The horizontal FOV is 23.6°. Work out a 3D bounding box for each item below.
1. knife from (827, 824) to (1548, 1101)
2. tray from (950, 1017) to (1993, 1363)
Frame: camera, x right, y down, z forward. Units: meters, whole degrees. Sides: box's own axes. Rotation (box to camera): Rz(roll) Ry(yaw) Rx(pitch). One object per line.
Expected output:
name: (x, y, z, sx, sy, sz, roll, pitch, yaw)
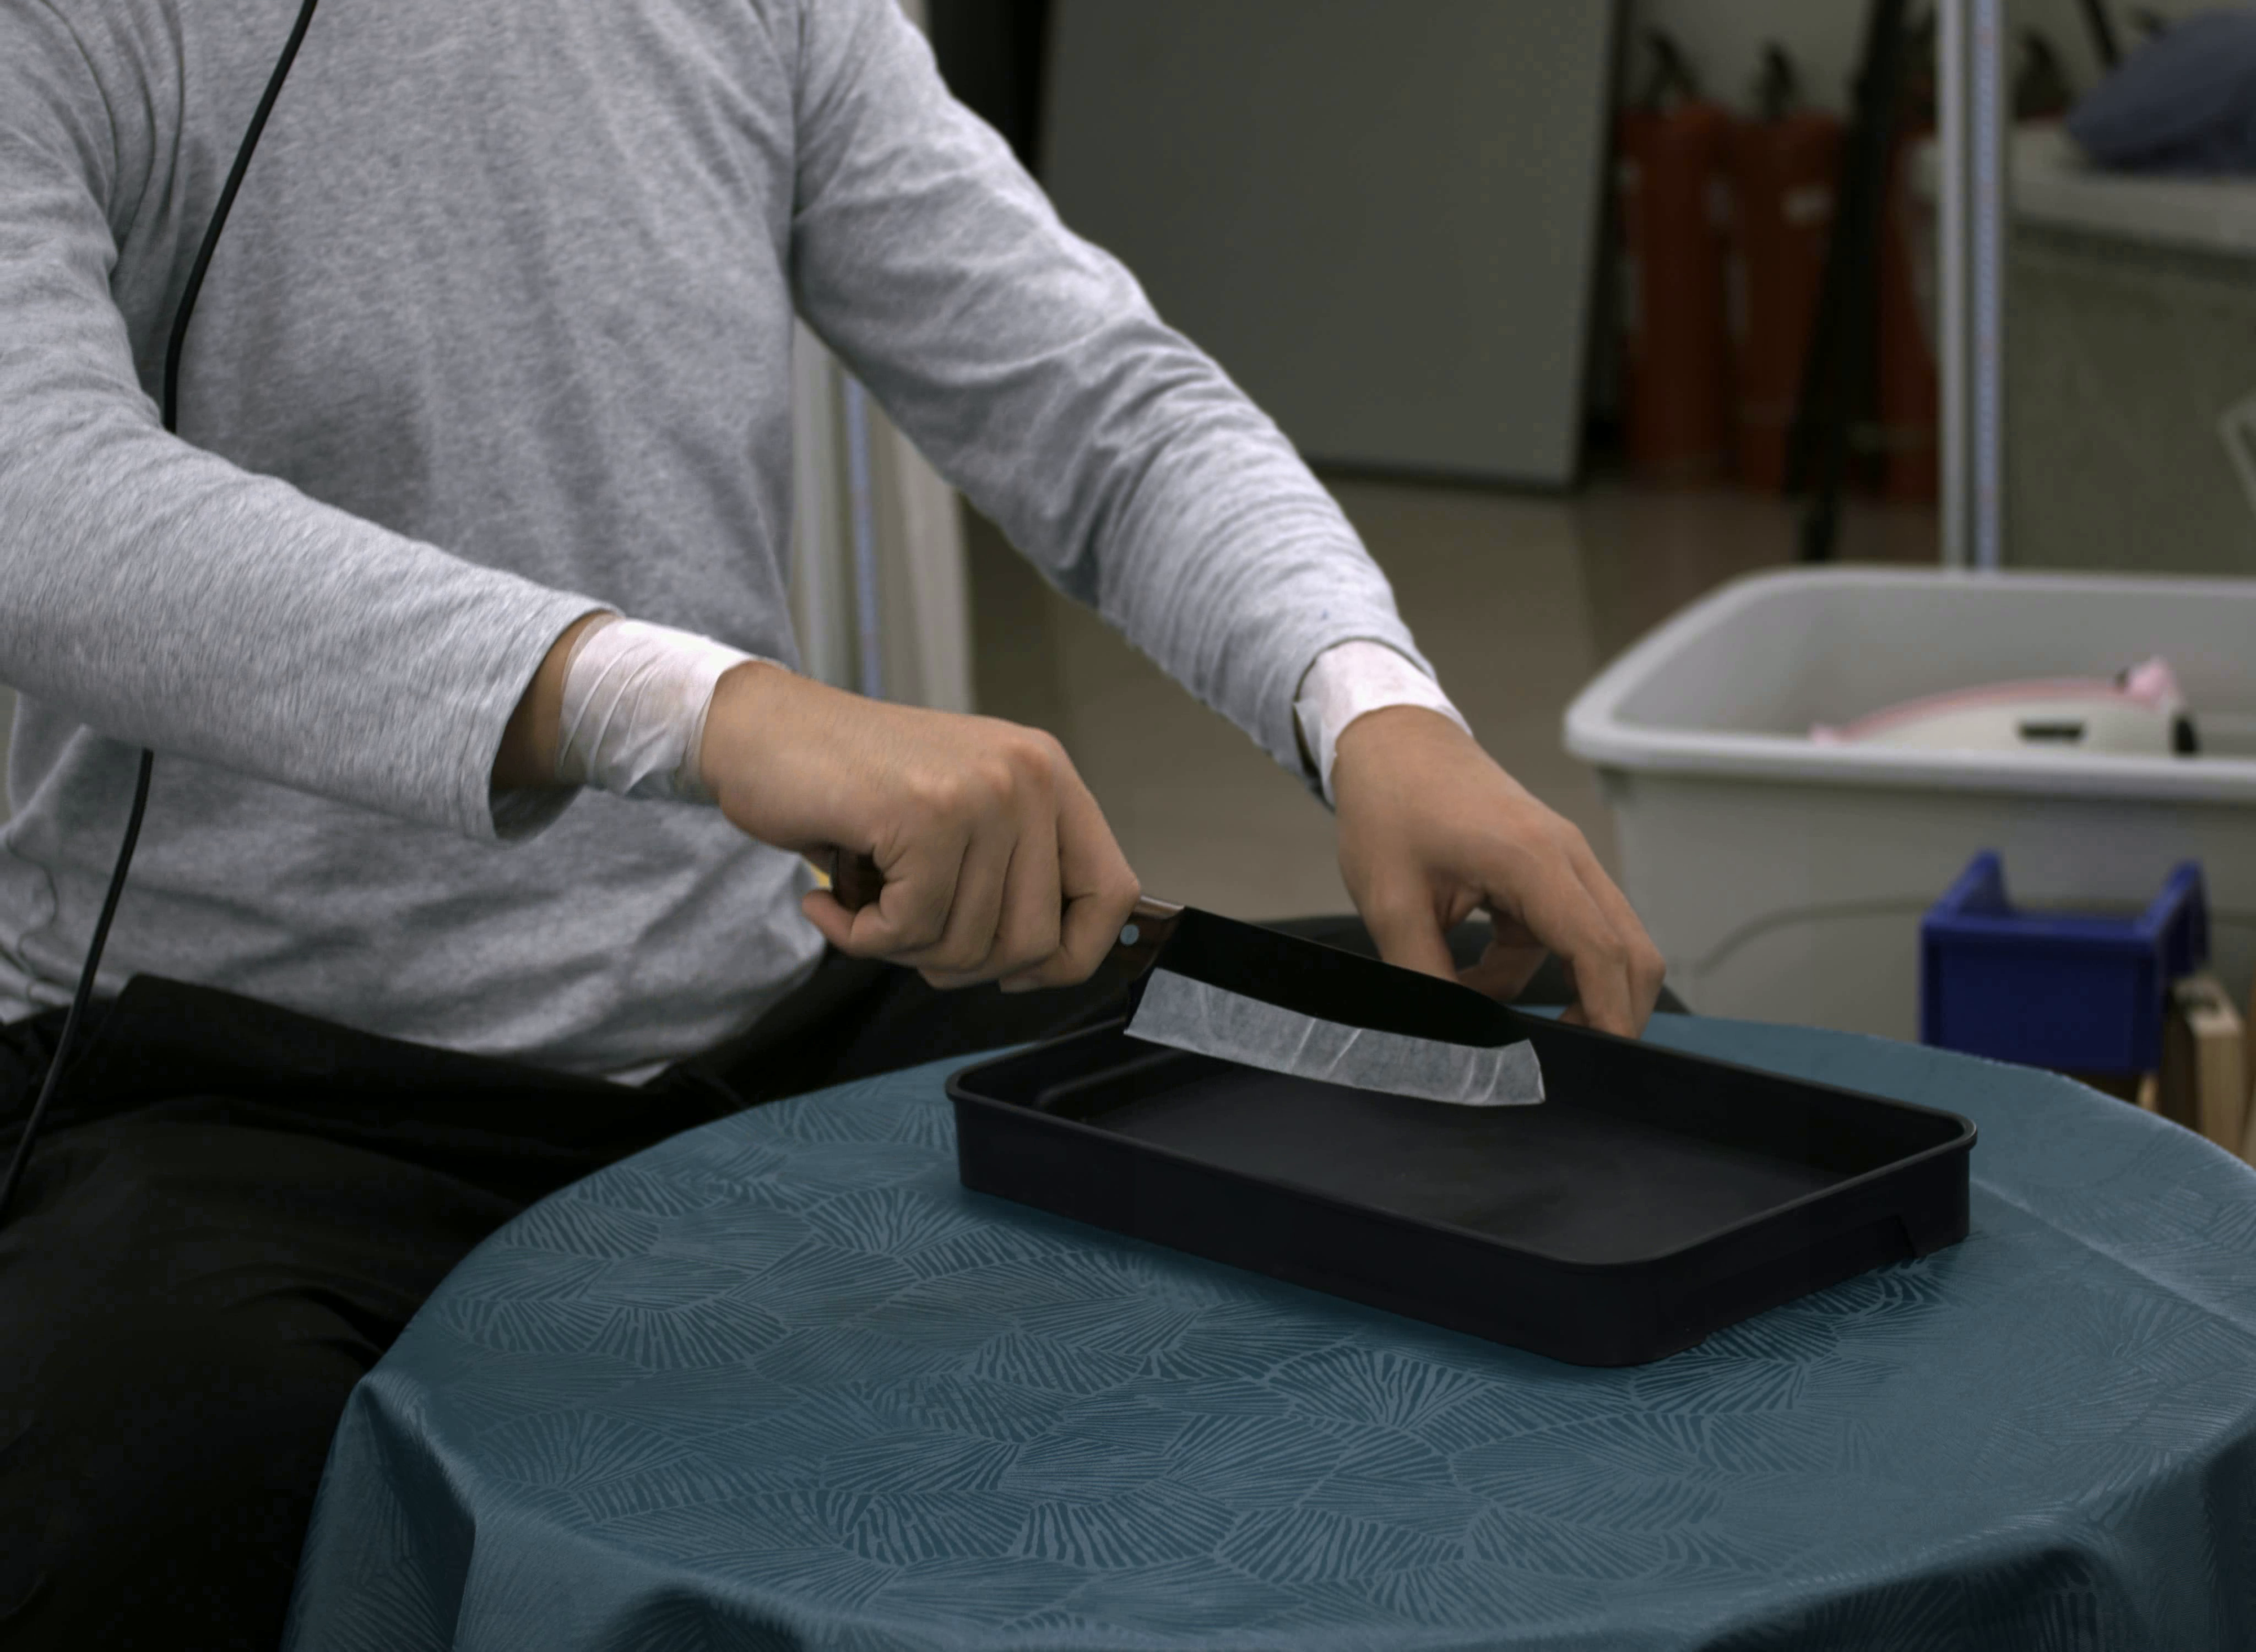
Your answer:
knife: (0.024, 0.045, 1.669, 0.283, 0.051, 0.020, 19, 8, -33)
tray: (0.106, 0.106, 1.731, 0.180, 0.037, 0.321, -16, 17, -41)
